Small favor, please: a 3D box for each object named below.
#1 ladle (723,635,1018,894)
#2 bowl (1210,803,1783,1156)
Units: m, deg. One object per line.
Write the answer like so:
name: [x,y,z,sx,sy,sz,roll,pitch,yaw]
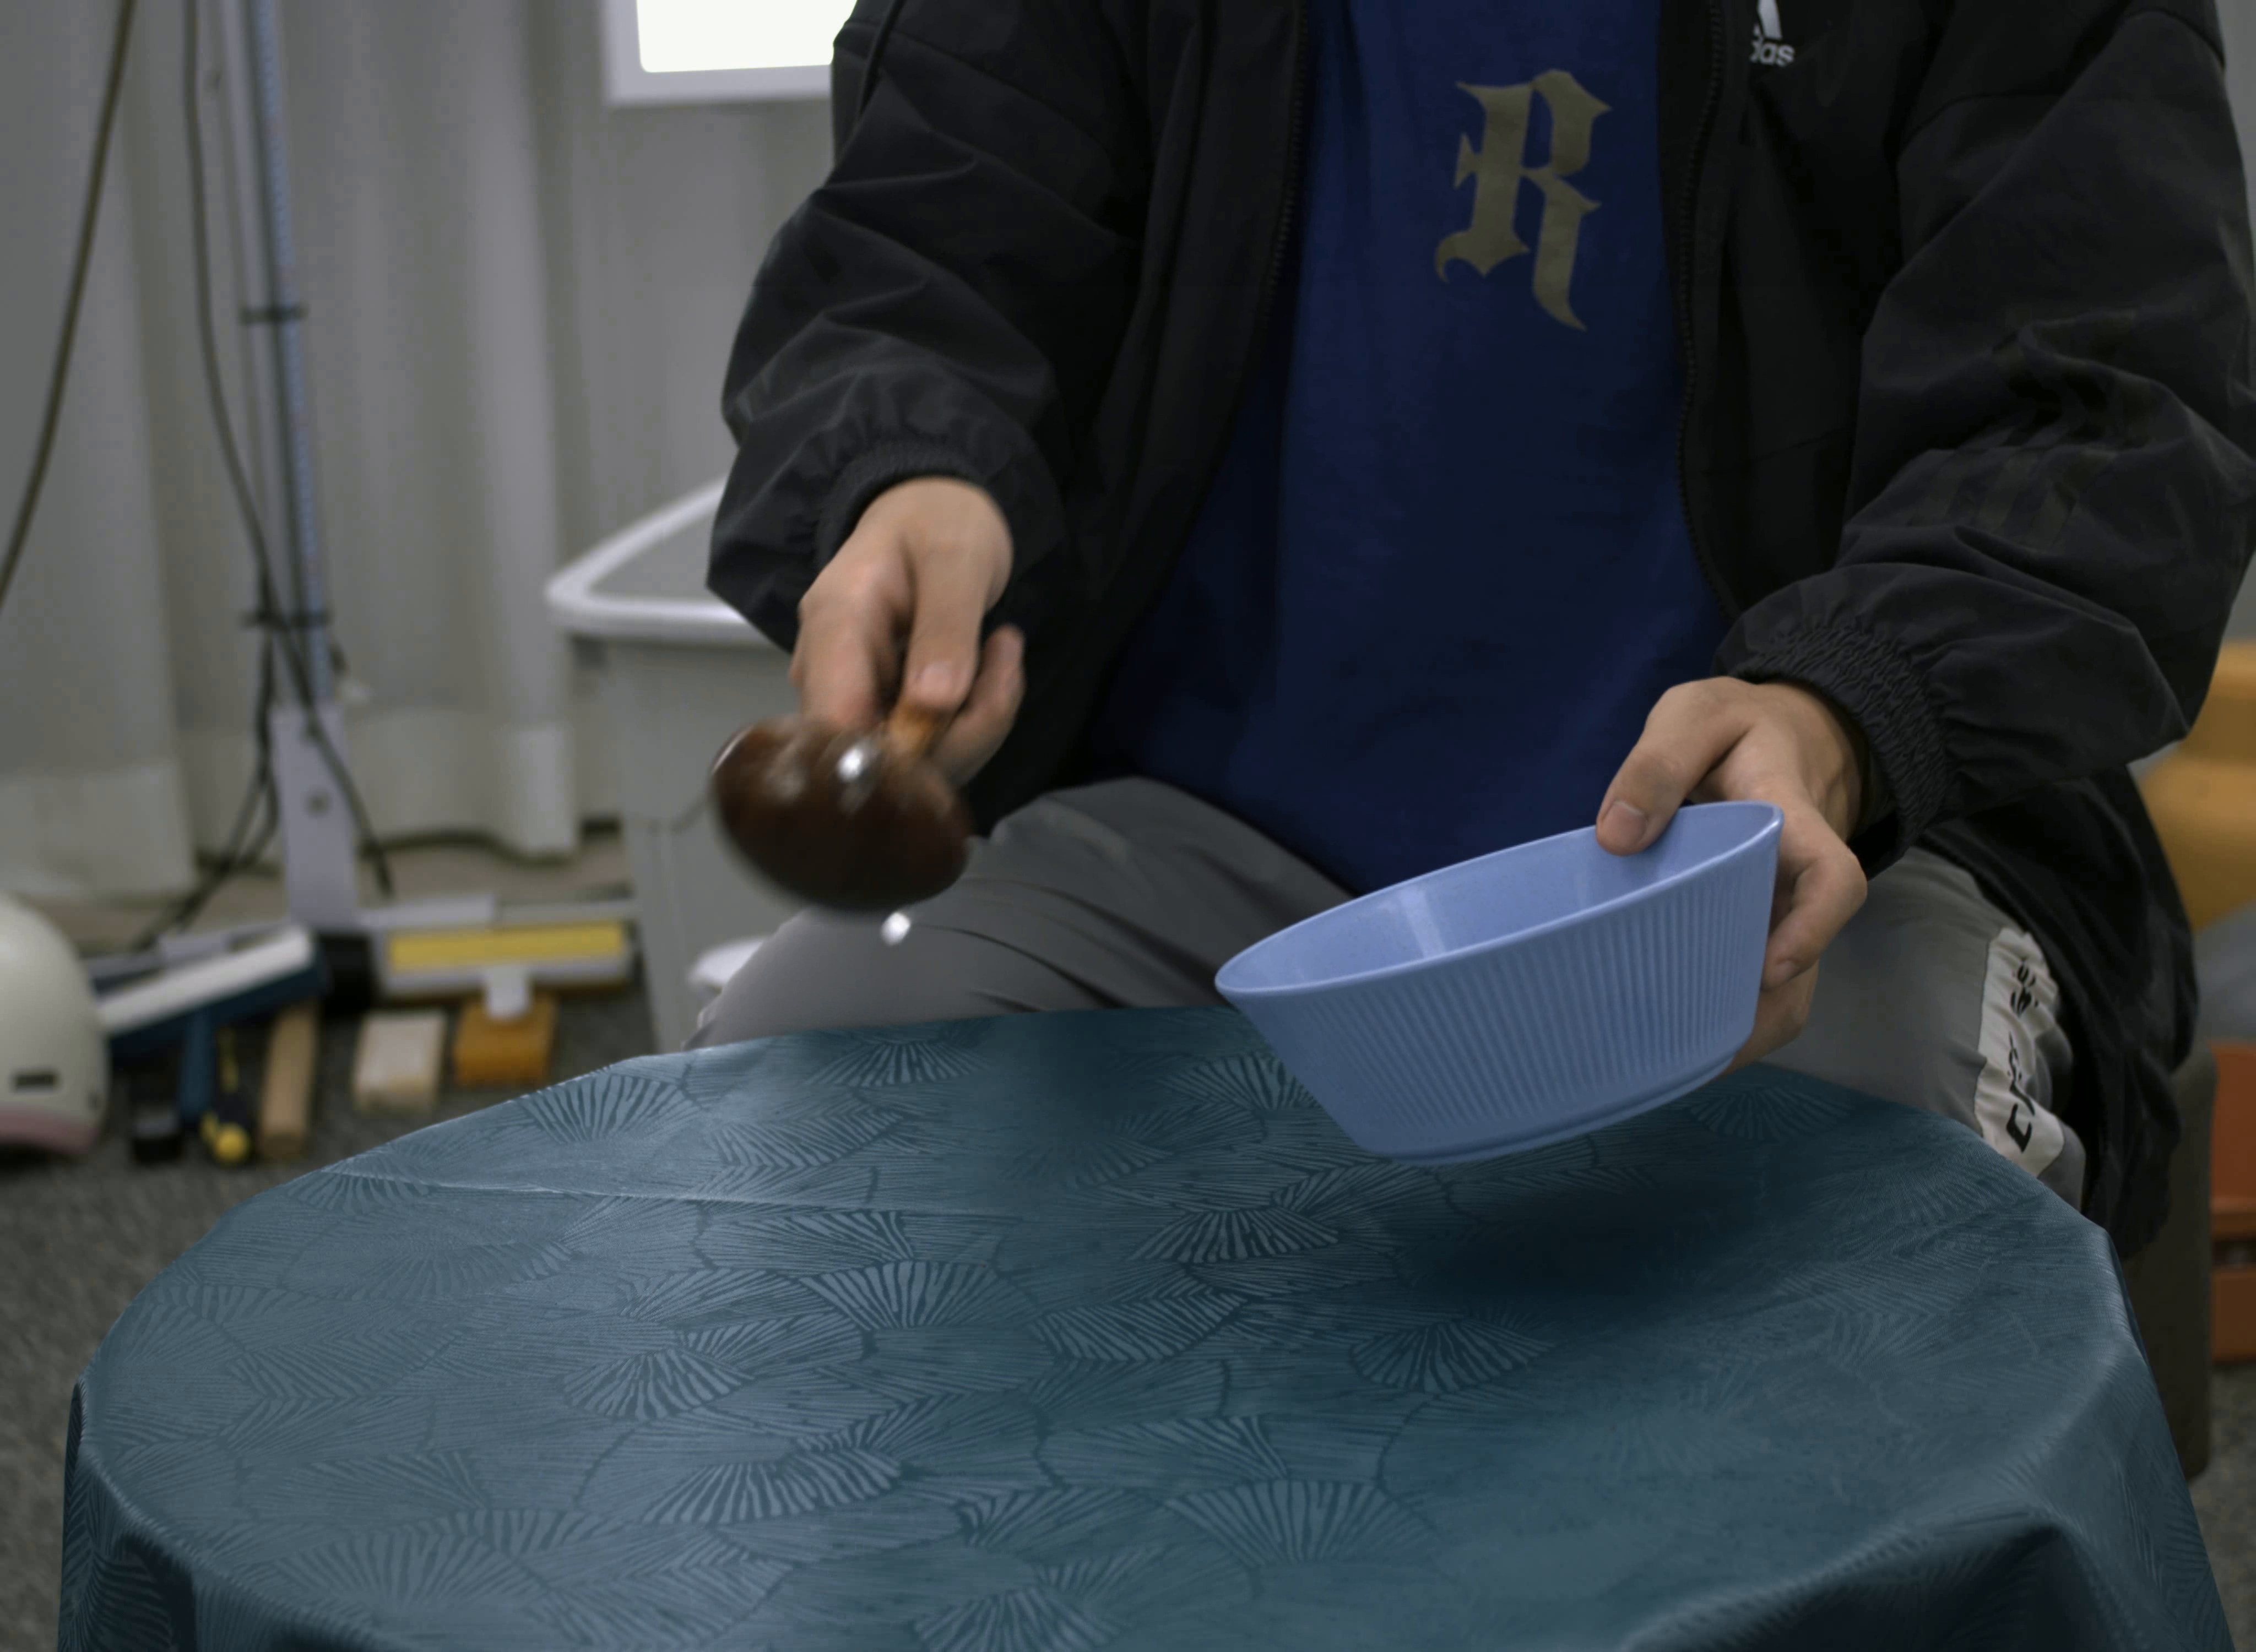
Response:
ladle: [-0.063,-0.043,1.698,0.082,0.076,0.276,28,21,1]
bowl: [0.117,0.049,1.619,0.175,0.070,0.176,-16,6,1]
